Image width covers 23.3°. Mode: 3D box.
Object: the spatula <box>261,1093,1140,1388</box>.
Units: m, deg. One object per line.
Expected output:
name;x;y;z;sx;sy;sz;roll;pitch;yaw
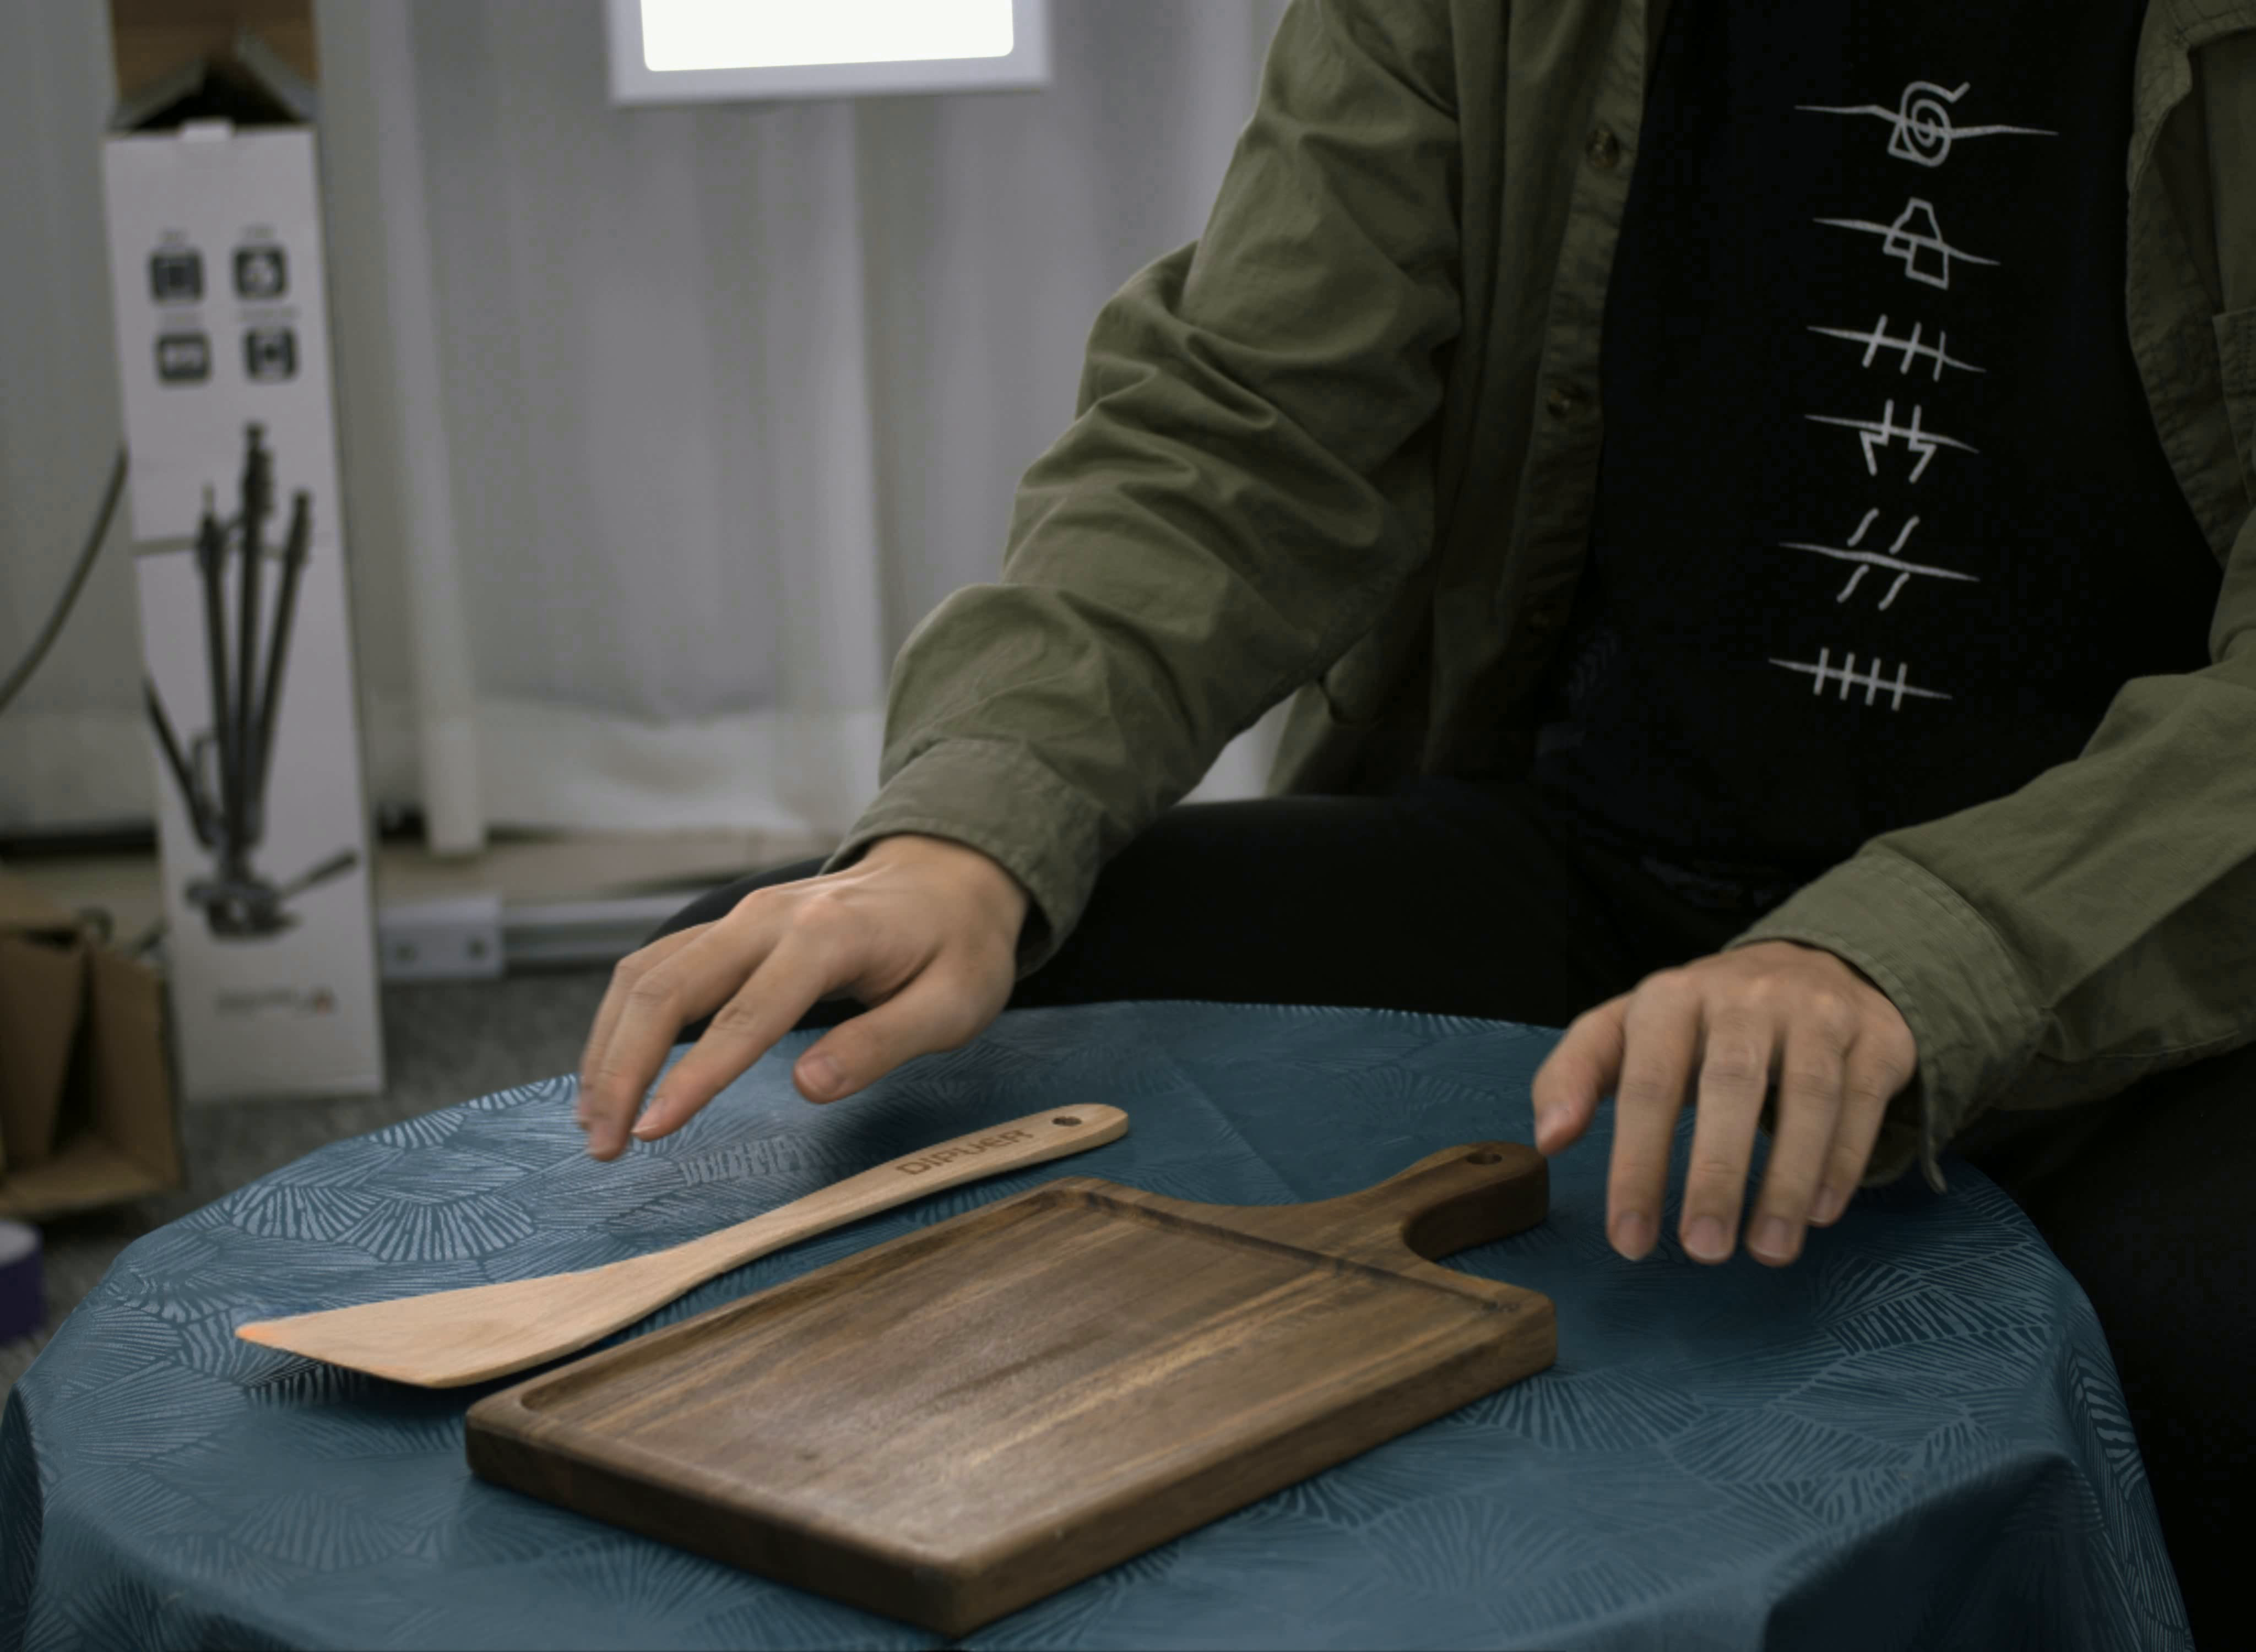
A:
spatula;-0.114;0.123;1.675;0.080;0.016;0.327;12;21;43

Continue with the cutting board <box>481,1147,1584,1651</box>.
cutting board;0.010;0.147;1.551;0.202;0.023;0.351;12;21;43
